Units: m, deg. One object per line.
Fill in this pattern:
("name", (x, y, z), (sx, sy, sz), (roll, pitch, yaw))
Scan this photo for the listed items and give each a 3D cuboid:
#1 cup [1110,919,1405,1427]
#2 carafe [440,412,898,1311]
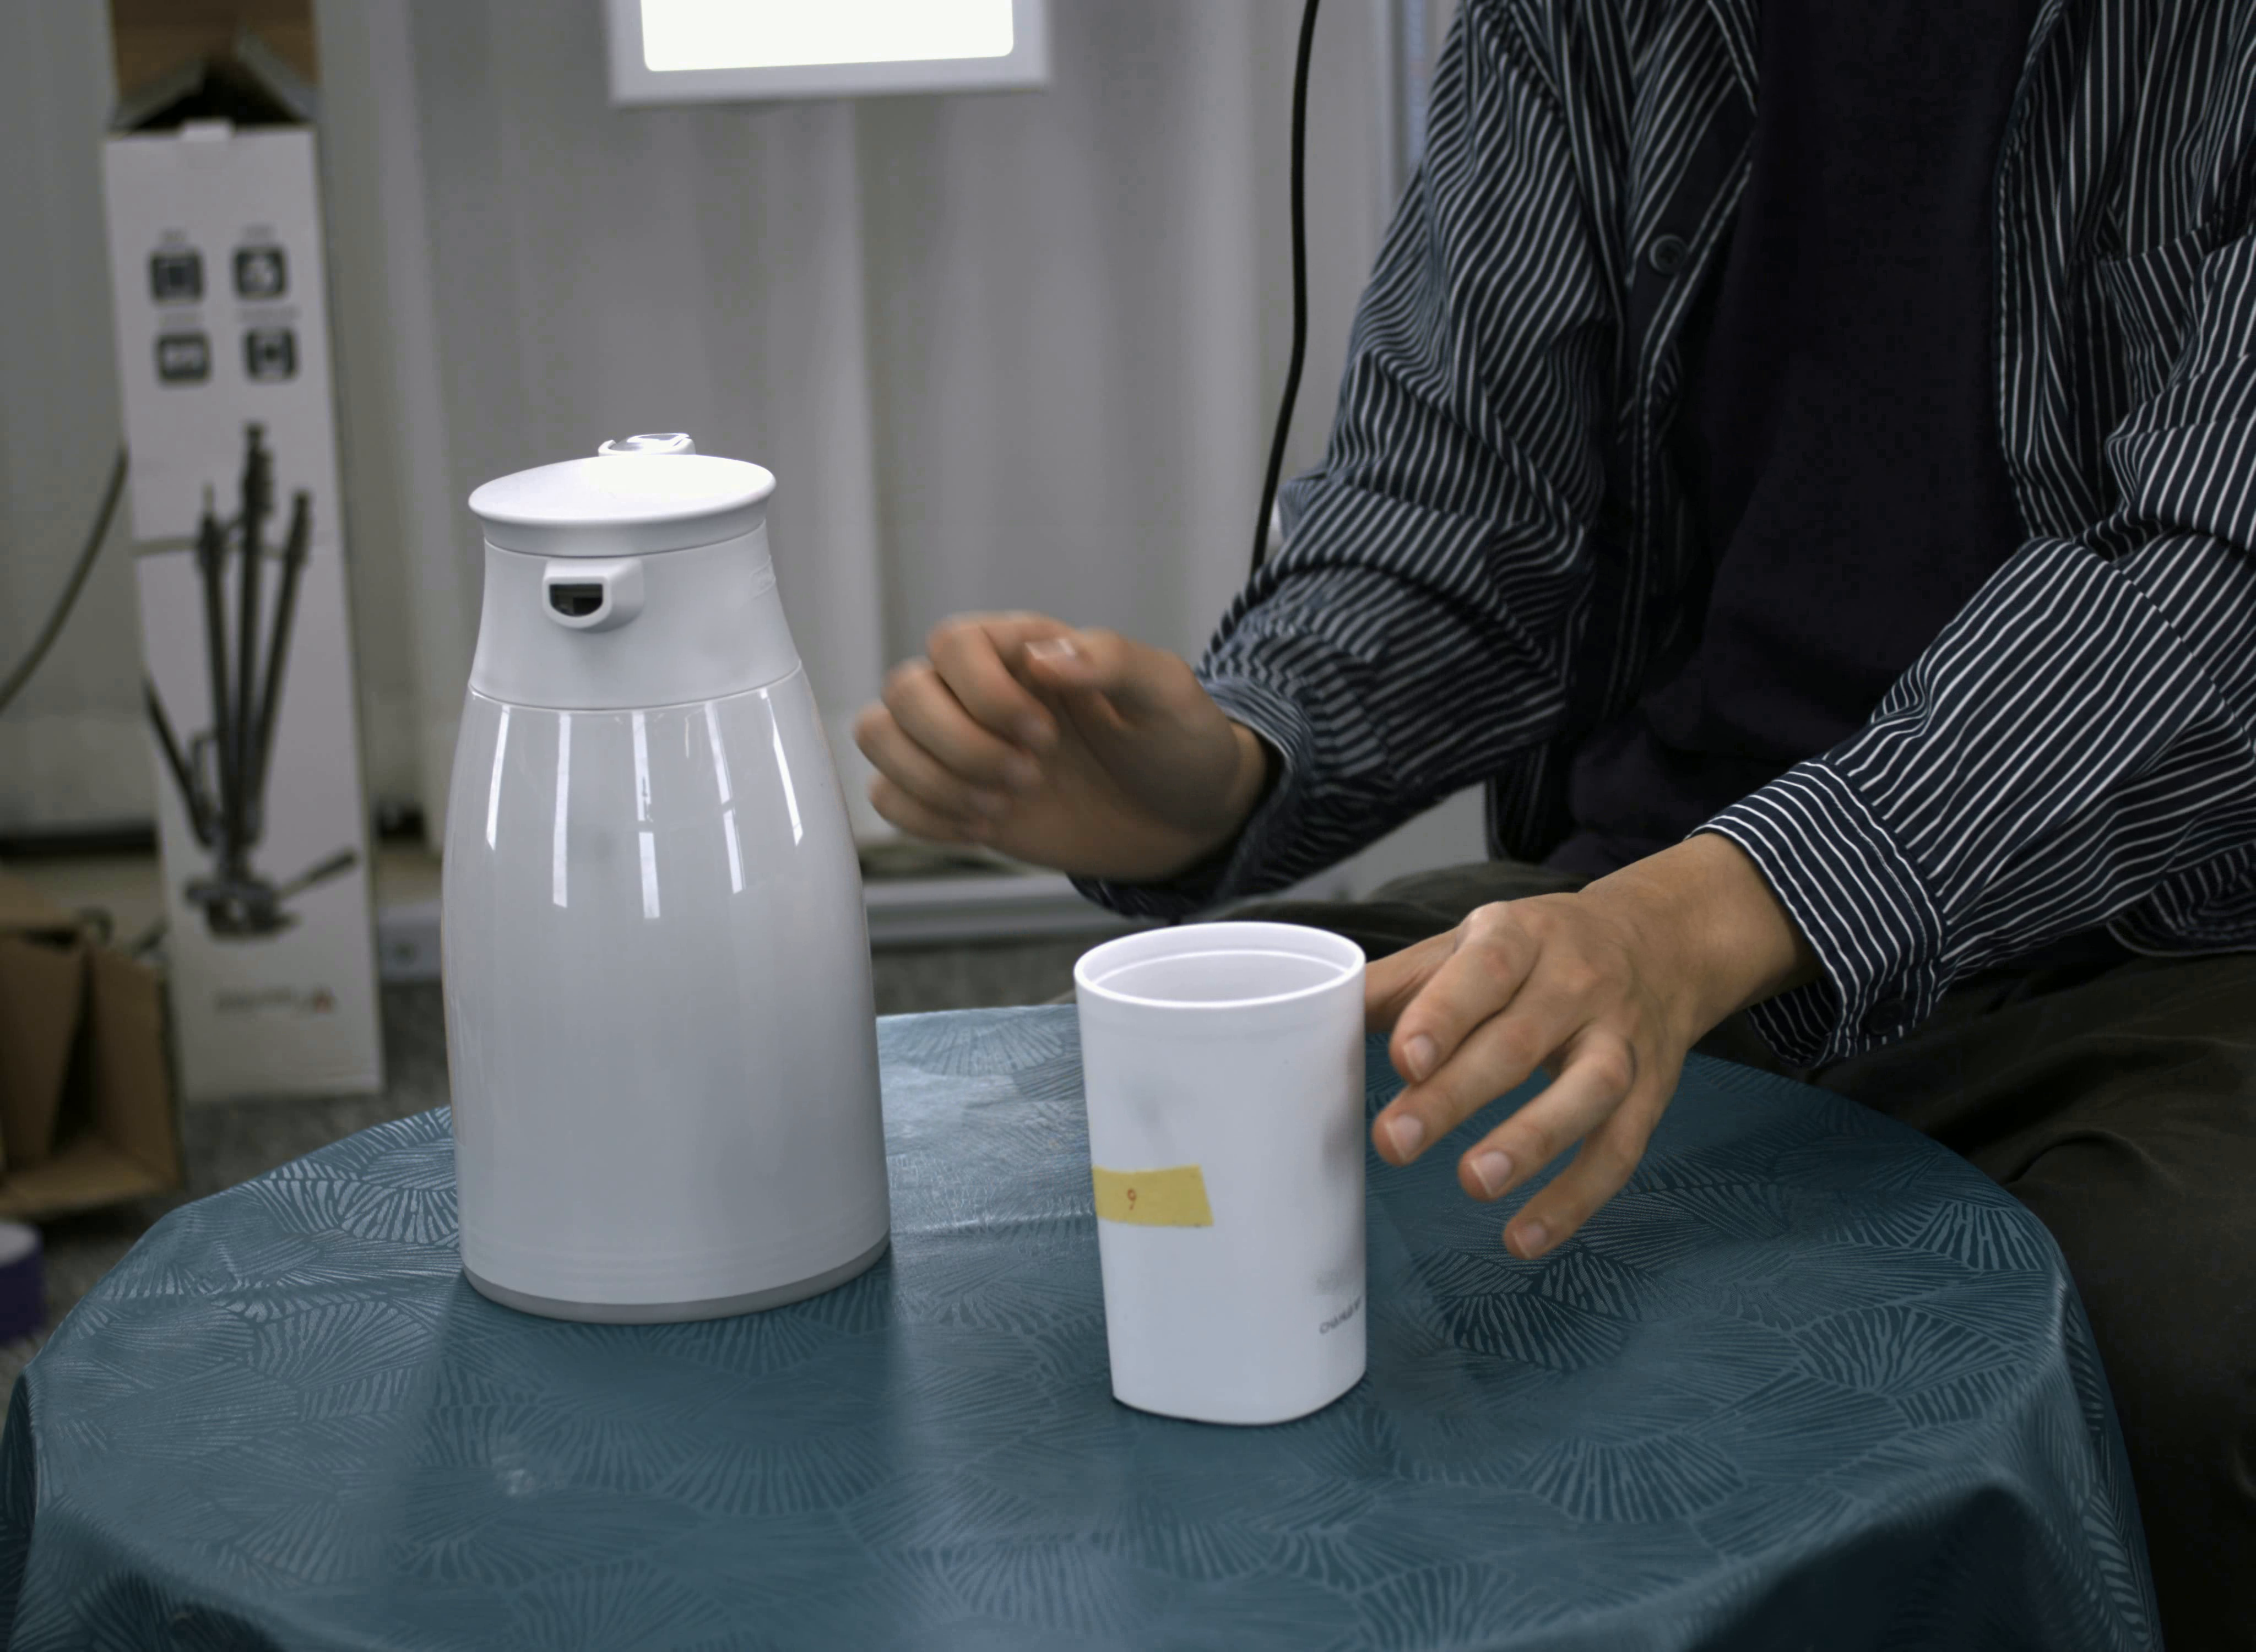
("cup", (0.039, 0.097, 1.523), (0.081, 0.125, 0.082), (-3, 14, 1))
("carafe", (-0.146, 0.002, 1.673), (0.132, 0.247, 0.169), (-4, 16, 3))
